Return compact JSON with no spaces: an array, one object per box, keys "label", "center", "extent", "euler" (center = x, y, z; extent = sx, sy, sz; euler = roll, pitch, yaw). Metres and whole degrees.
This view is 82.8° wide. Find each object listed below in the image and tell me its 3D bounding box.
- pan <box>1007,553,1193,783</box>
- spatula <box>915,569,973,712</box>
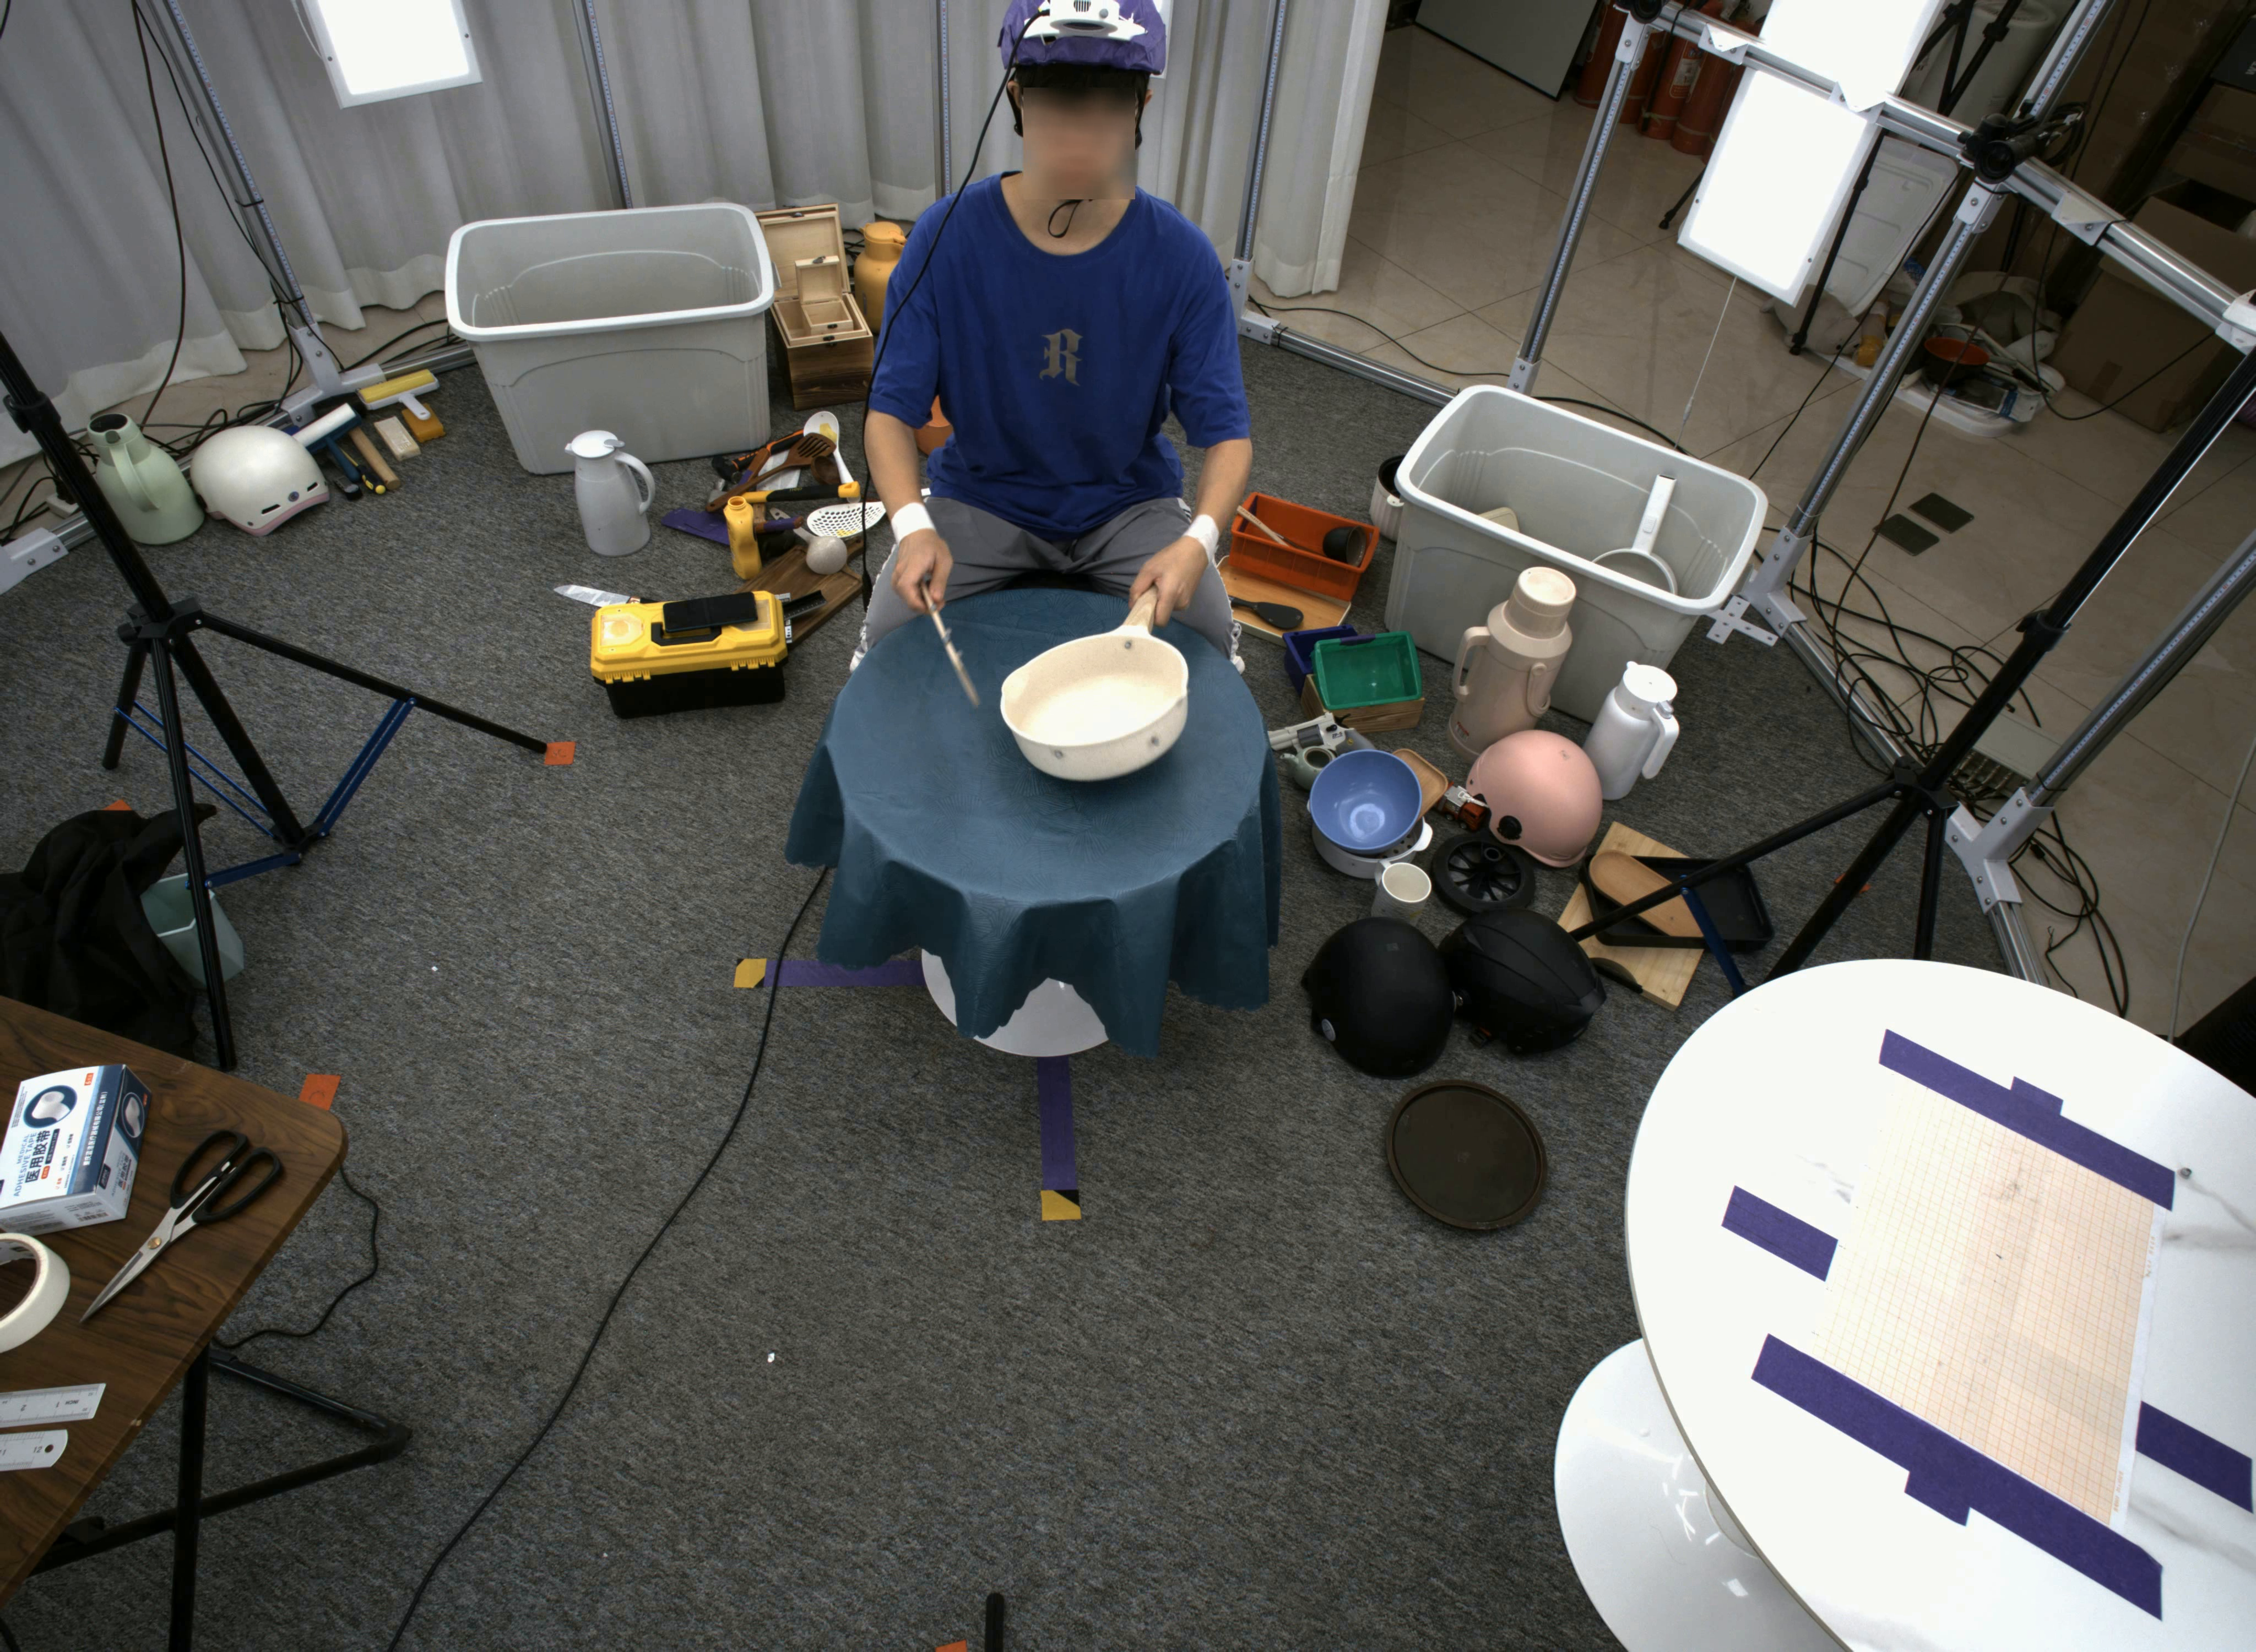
[{"label":"pan","center":[0.000,-0.219,1.773],"extent":[0.264,0.099,0.443],"euler":[5,43,23]},{"label":"spatula","center":[-0.252,-0.261,1.721],"extent":[0.010,0.070,0.300],"euler":[-24,45,-1]}]
